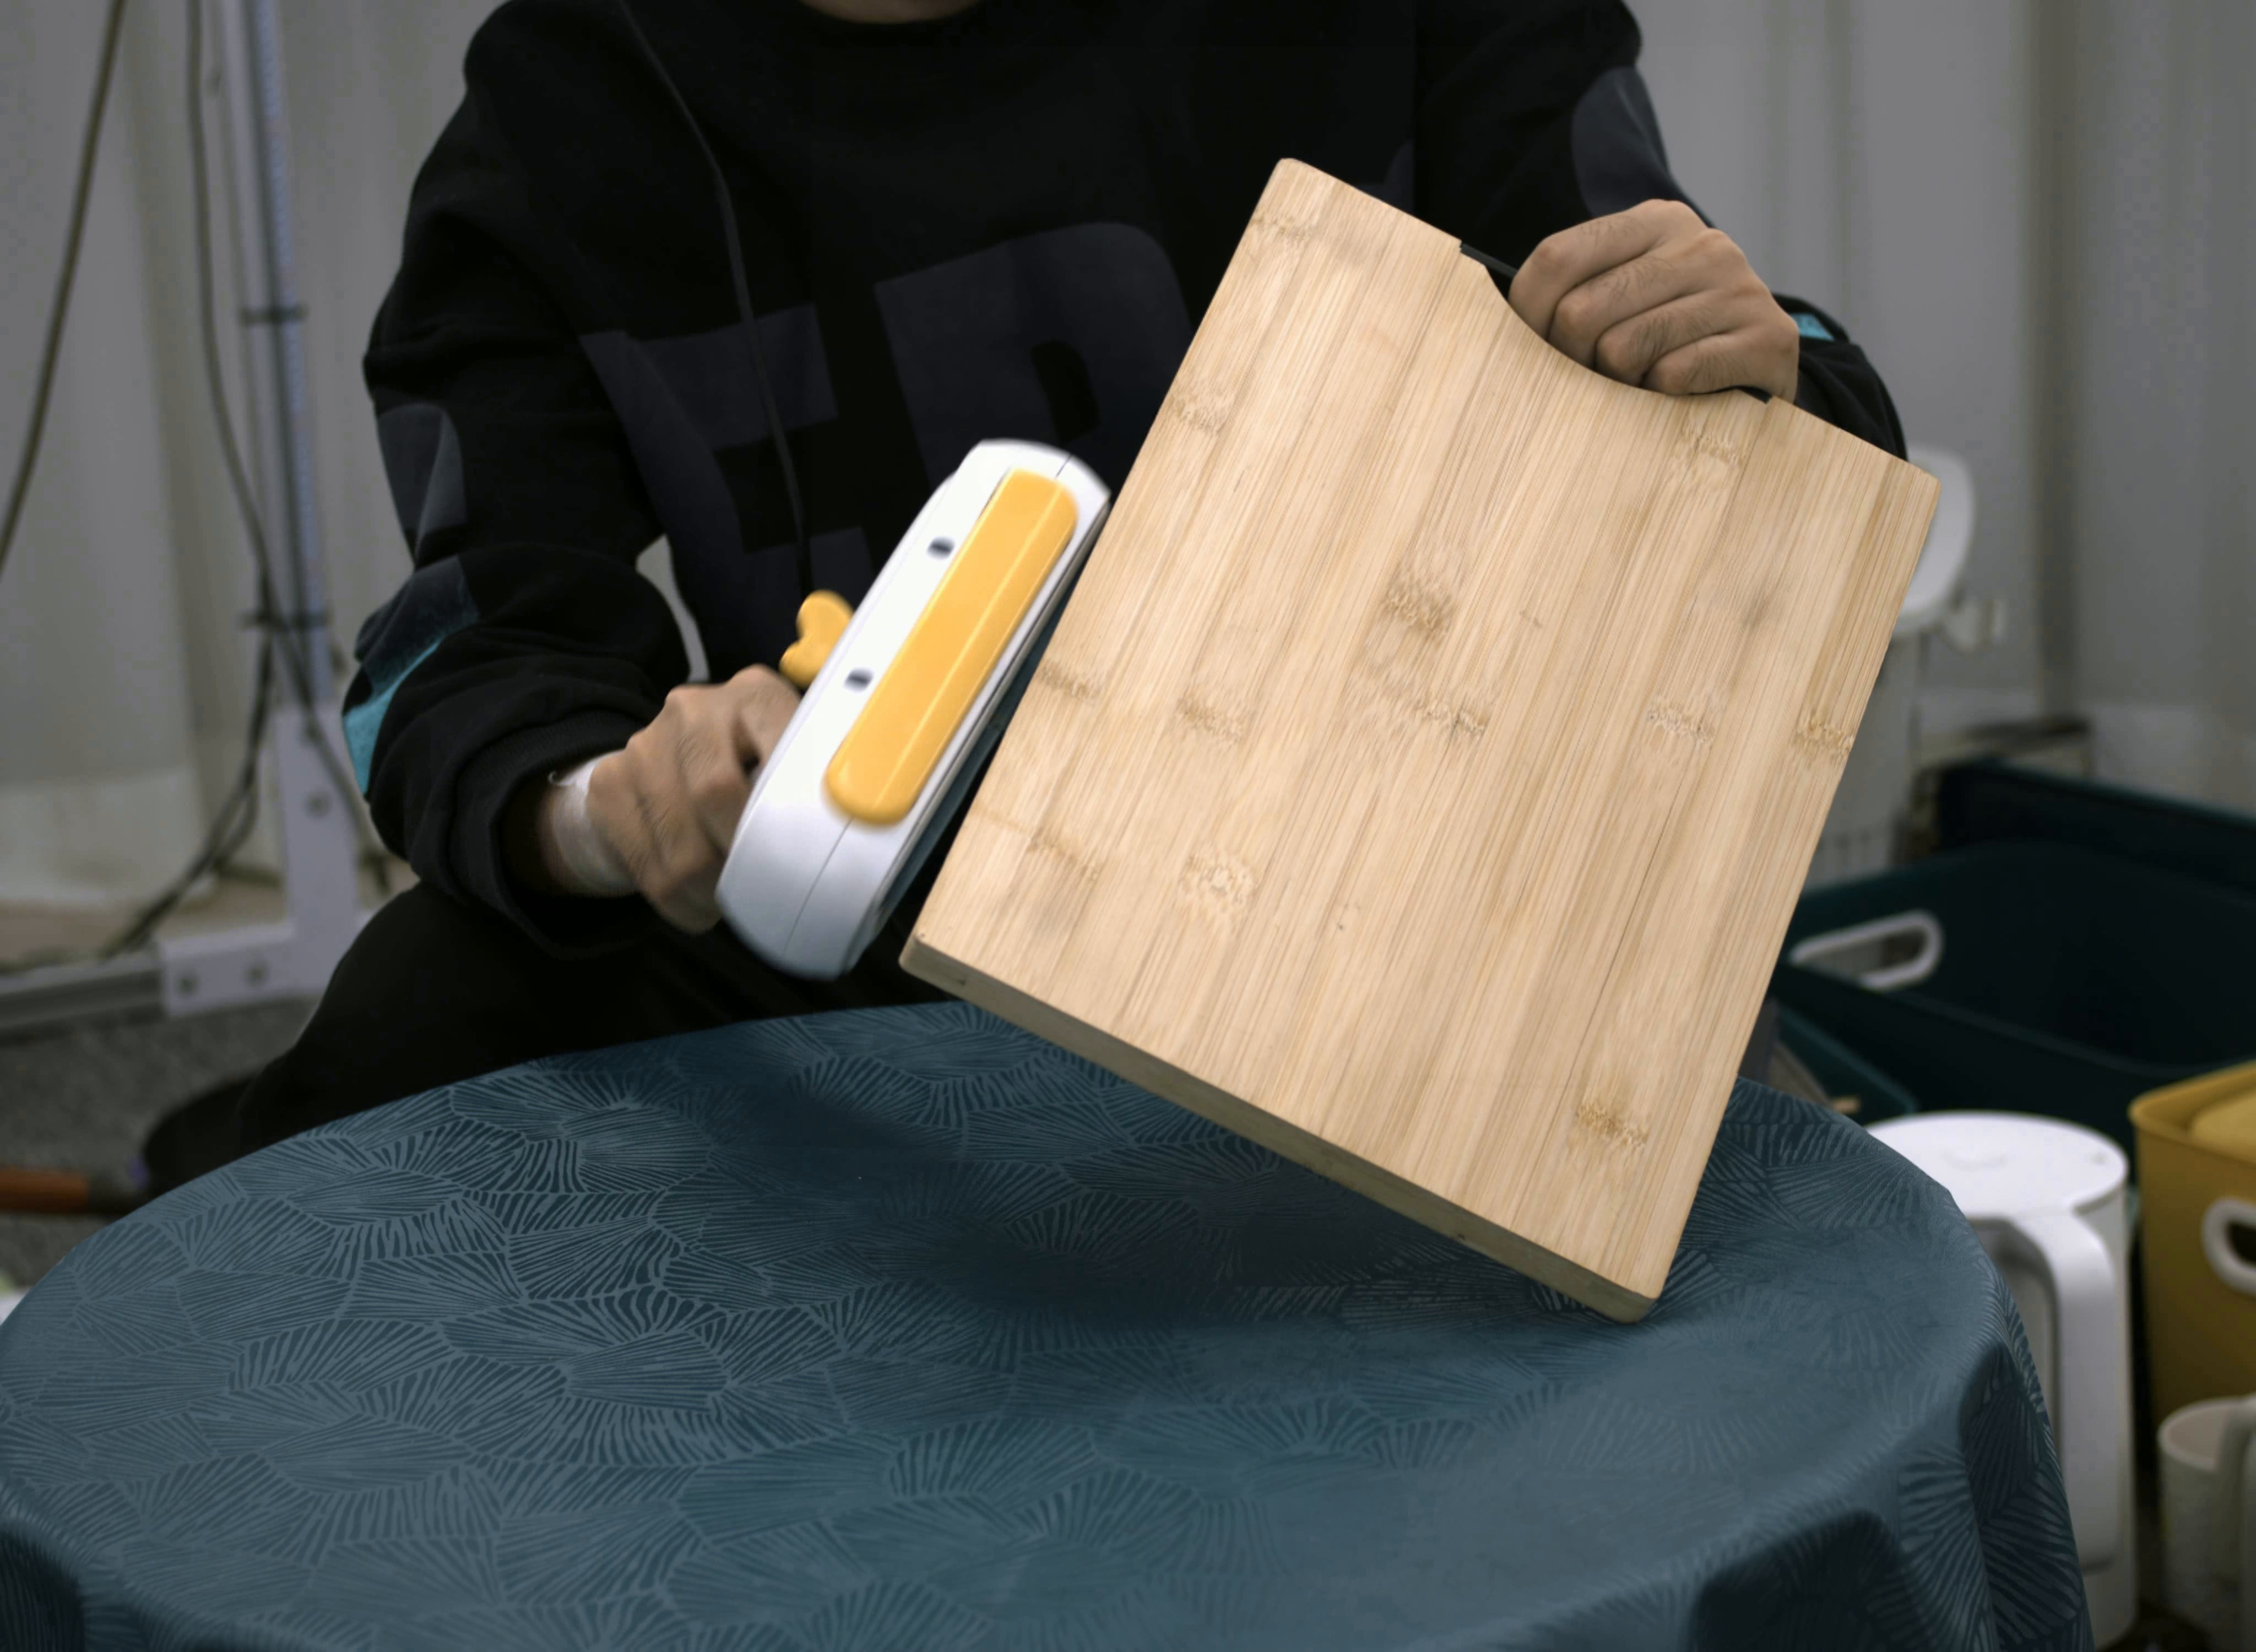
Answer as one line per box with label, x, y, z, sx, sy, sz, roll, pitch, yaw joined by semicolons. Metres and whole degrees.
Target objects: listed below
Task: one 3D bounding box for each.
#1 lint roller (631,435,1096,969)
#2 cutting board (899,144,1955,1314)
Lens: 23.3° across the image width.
lint roller;-0.094;-0.014;1.686;0.074;0.191;0.195;30;51;-8
cutting board;0.100;-0.039;1.675;0.250;0.023;0.353;25;53;-2
